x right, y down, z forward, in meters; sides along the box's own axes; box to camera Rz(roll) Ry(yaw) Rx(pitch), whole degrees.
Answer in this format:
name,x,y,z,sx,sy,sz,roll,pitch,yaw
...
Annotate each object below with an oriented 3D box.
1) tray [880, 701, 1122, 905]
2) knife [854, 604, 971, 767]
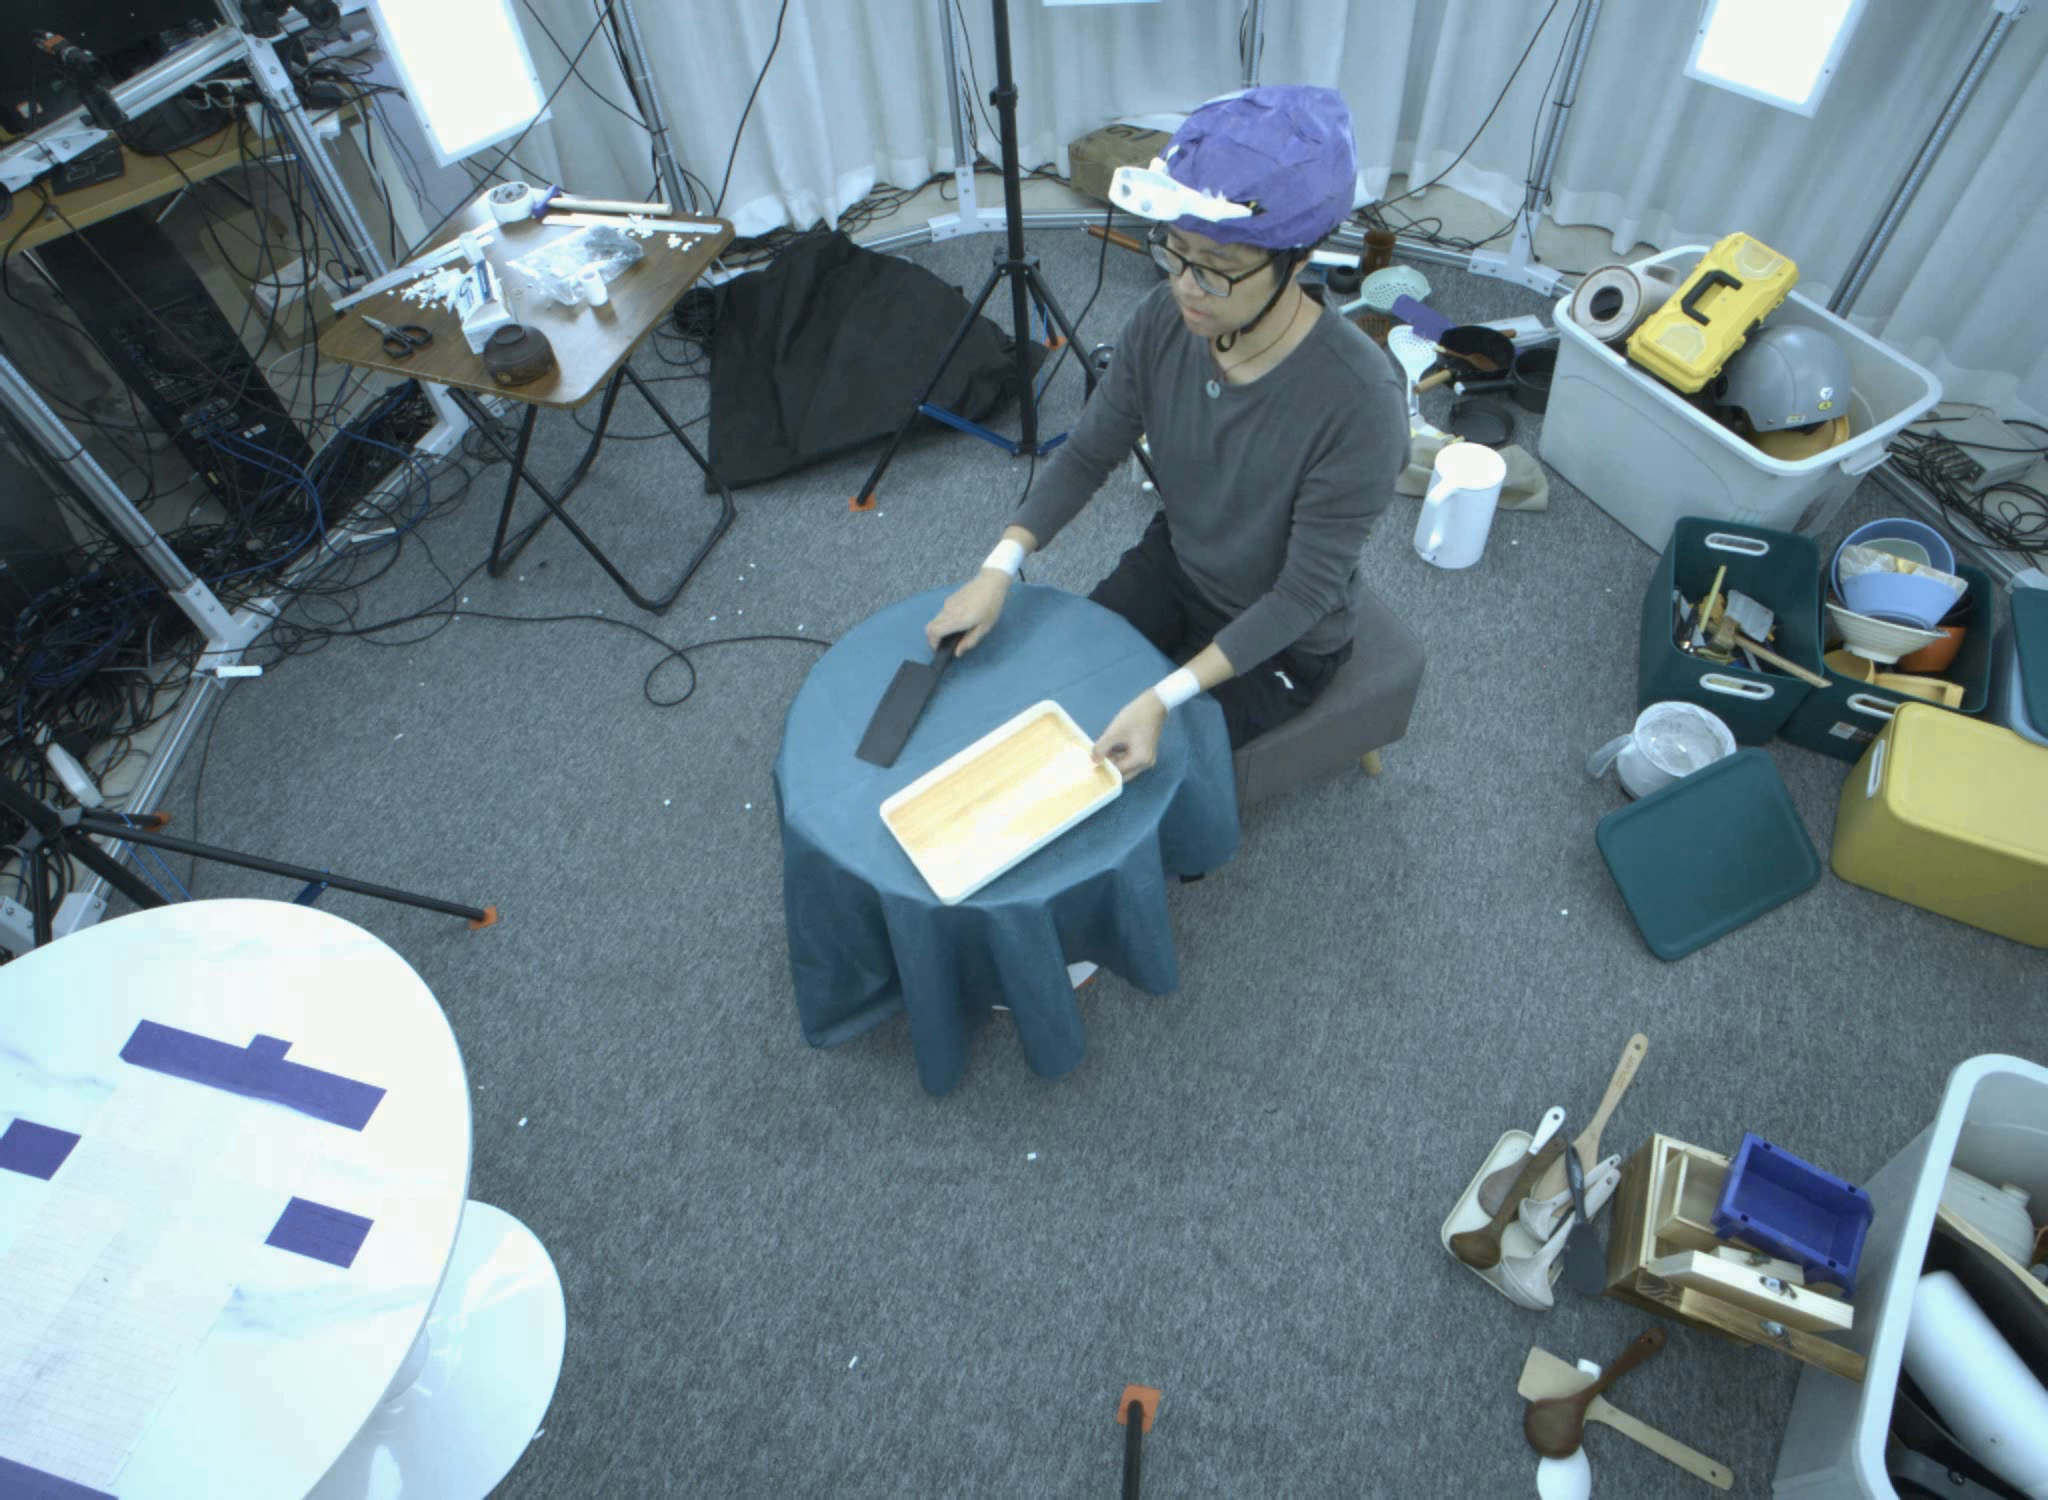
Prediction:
name,x,y,z,sx,sy,sz,roll,pitch,yaw
tray,-0.032,0.068,1.709,0.302,0.028,0.188,-33,58,-14
knife,-0.163,-0.103,1.849,0.080,0.021,0.302,23,65,17
